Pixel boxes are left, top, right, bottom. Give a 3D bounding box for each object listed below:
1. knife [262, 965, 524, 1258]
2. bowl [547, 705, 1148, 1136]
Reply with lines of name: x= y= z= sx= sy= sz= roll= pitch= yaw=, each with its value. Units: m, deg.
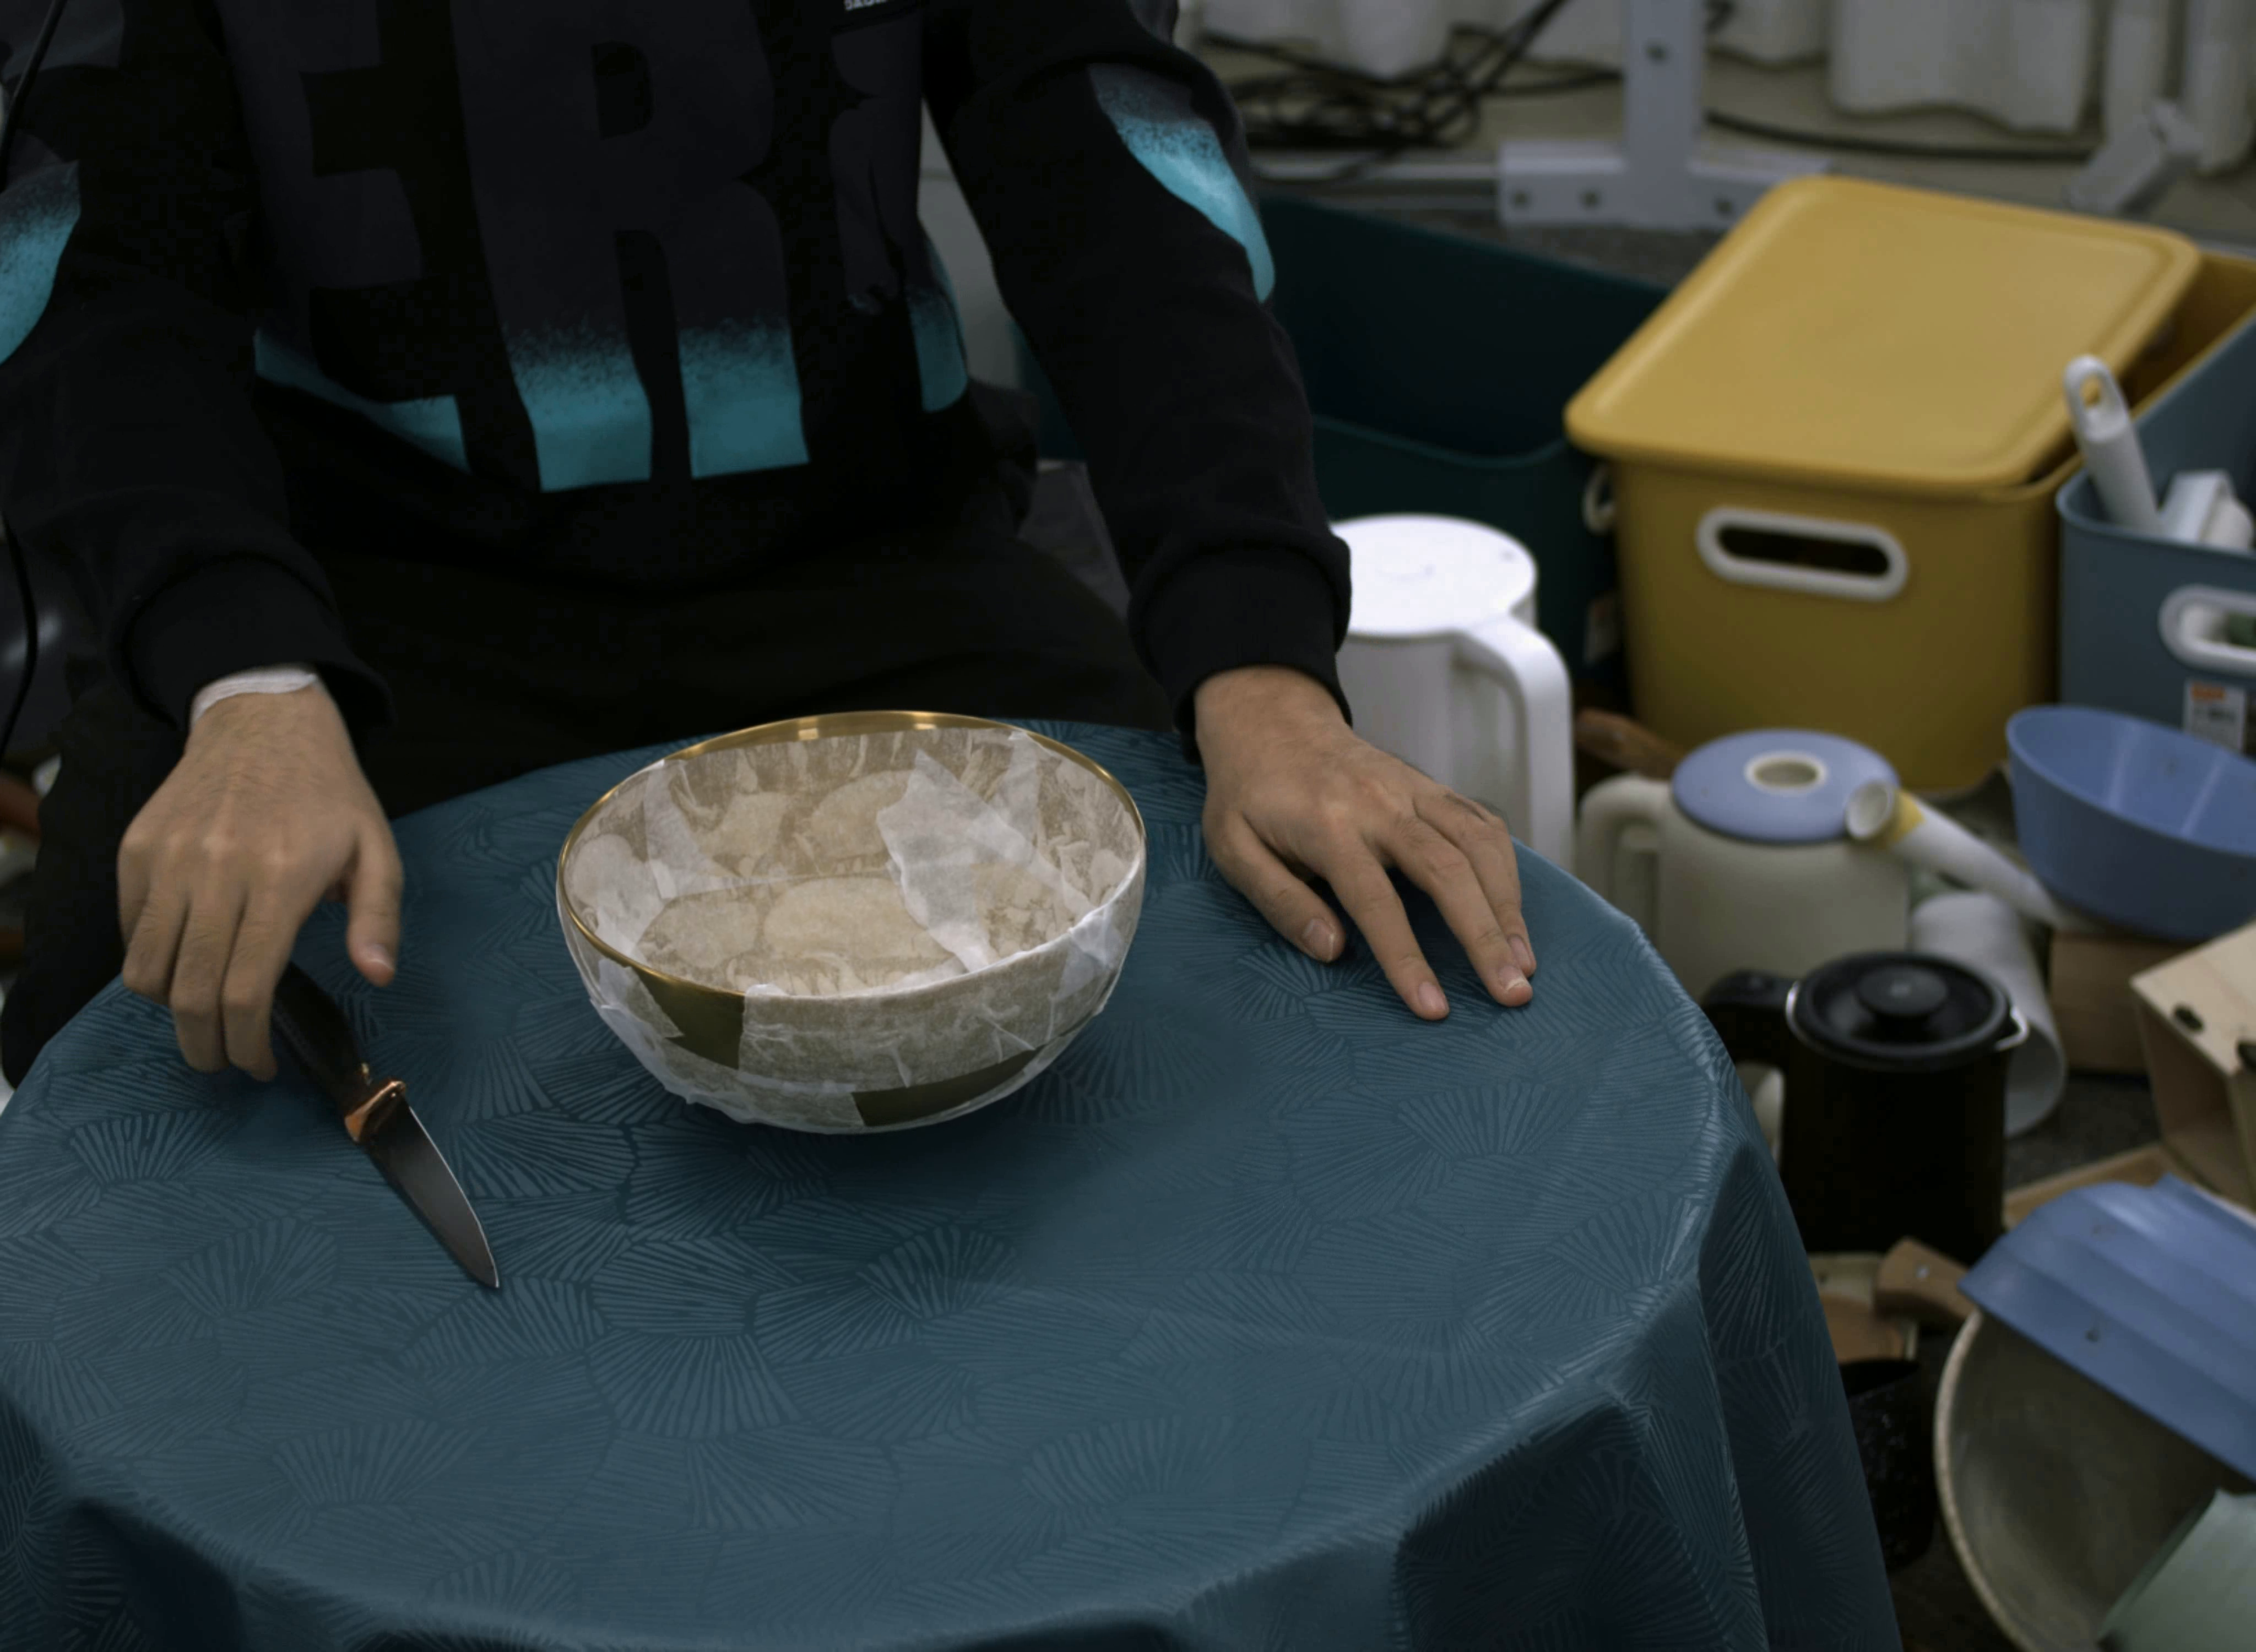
knife: x=-0.251 y=0.099 z=1.906 sx=0.026 sy=0.017 sz=0.227 roll=-48 pitch=36 yaw=0
bowl: x=-0.091 y=0.043 z=1.920 sx=0.213 sy=0.093 sz=0.218 roll=-3 pitch=28 yaw=2
